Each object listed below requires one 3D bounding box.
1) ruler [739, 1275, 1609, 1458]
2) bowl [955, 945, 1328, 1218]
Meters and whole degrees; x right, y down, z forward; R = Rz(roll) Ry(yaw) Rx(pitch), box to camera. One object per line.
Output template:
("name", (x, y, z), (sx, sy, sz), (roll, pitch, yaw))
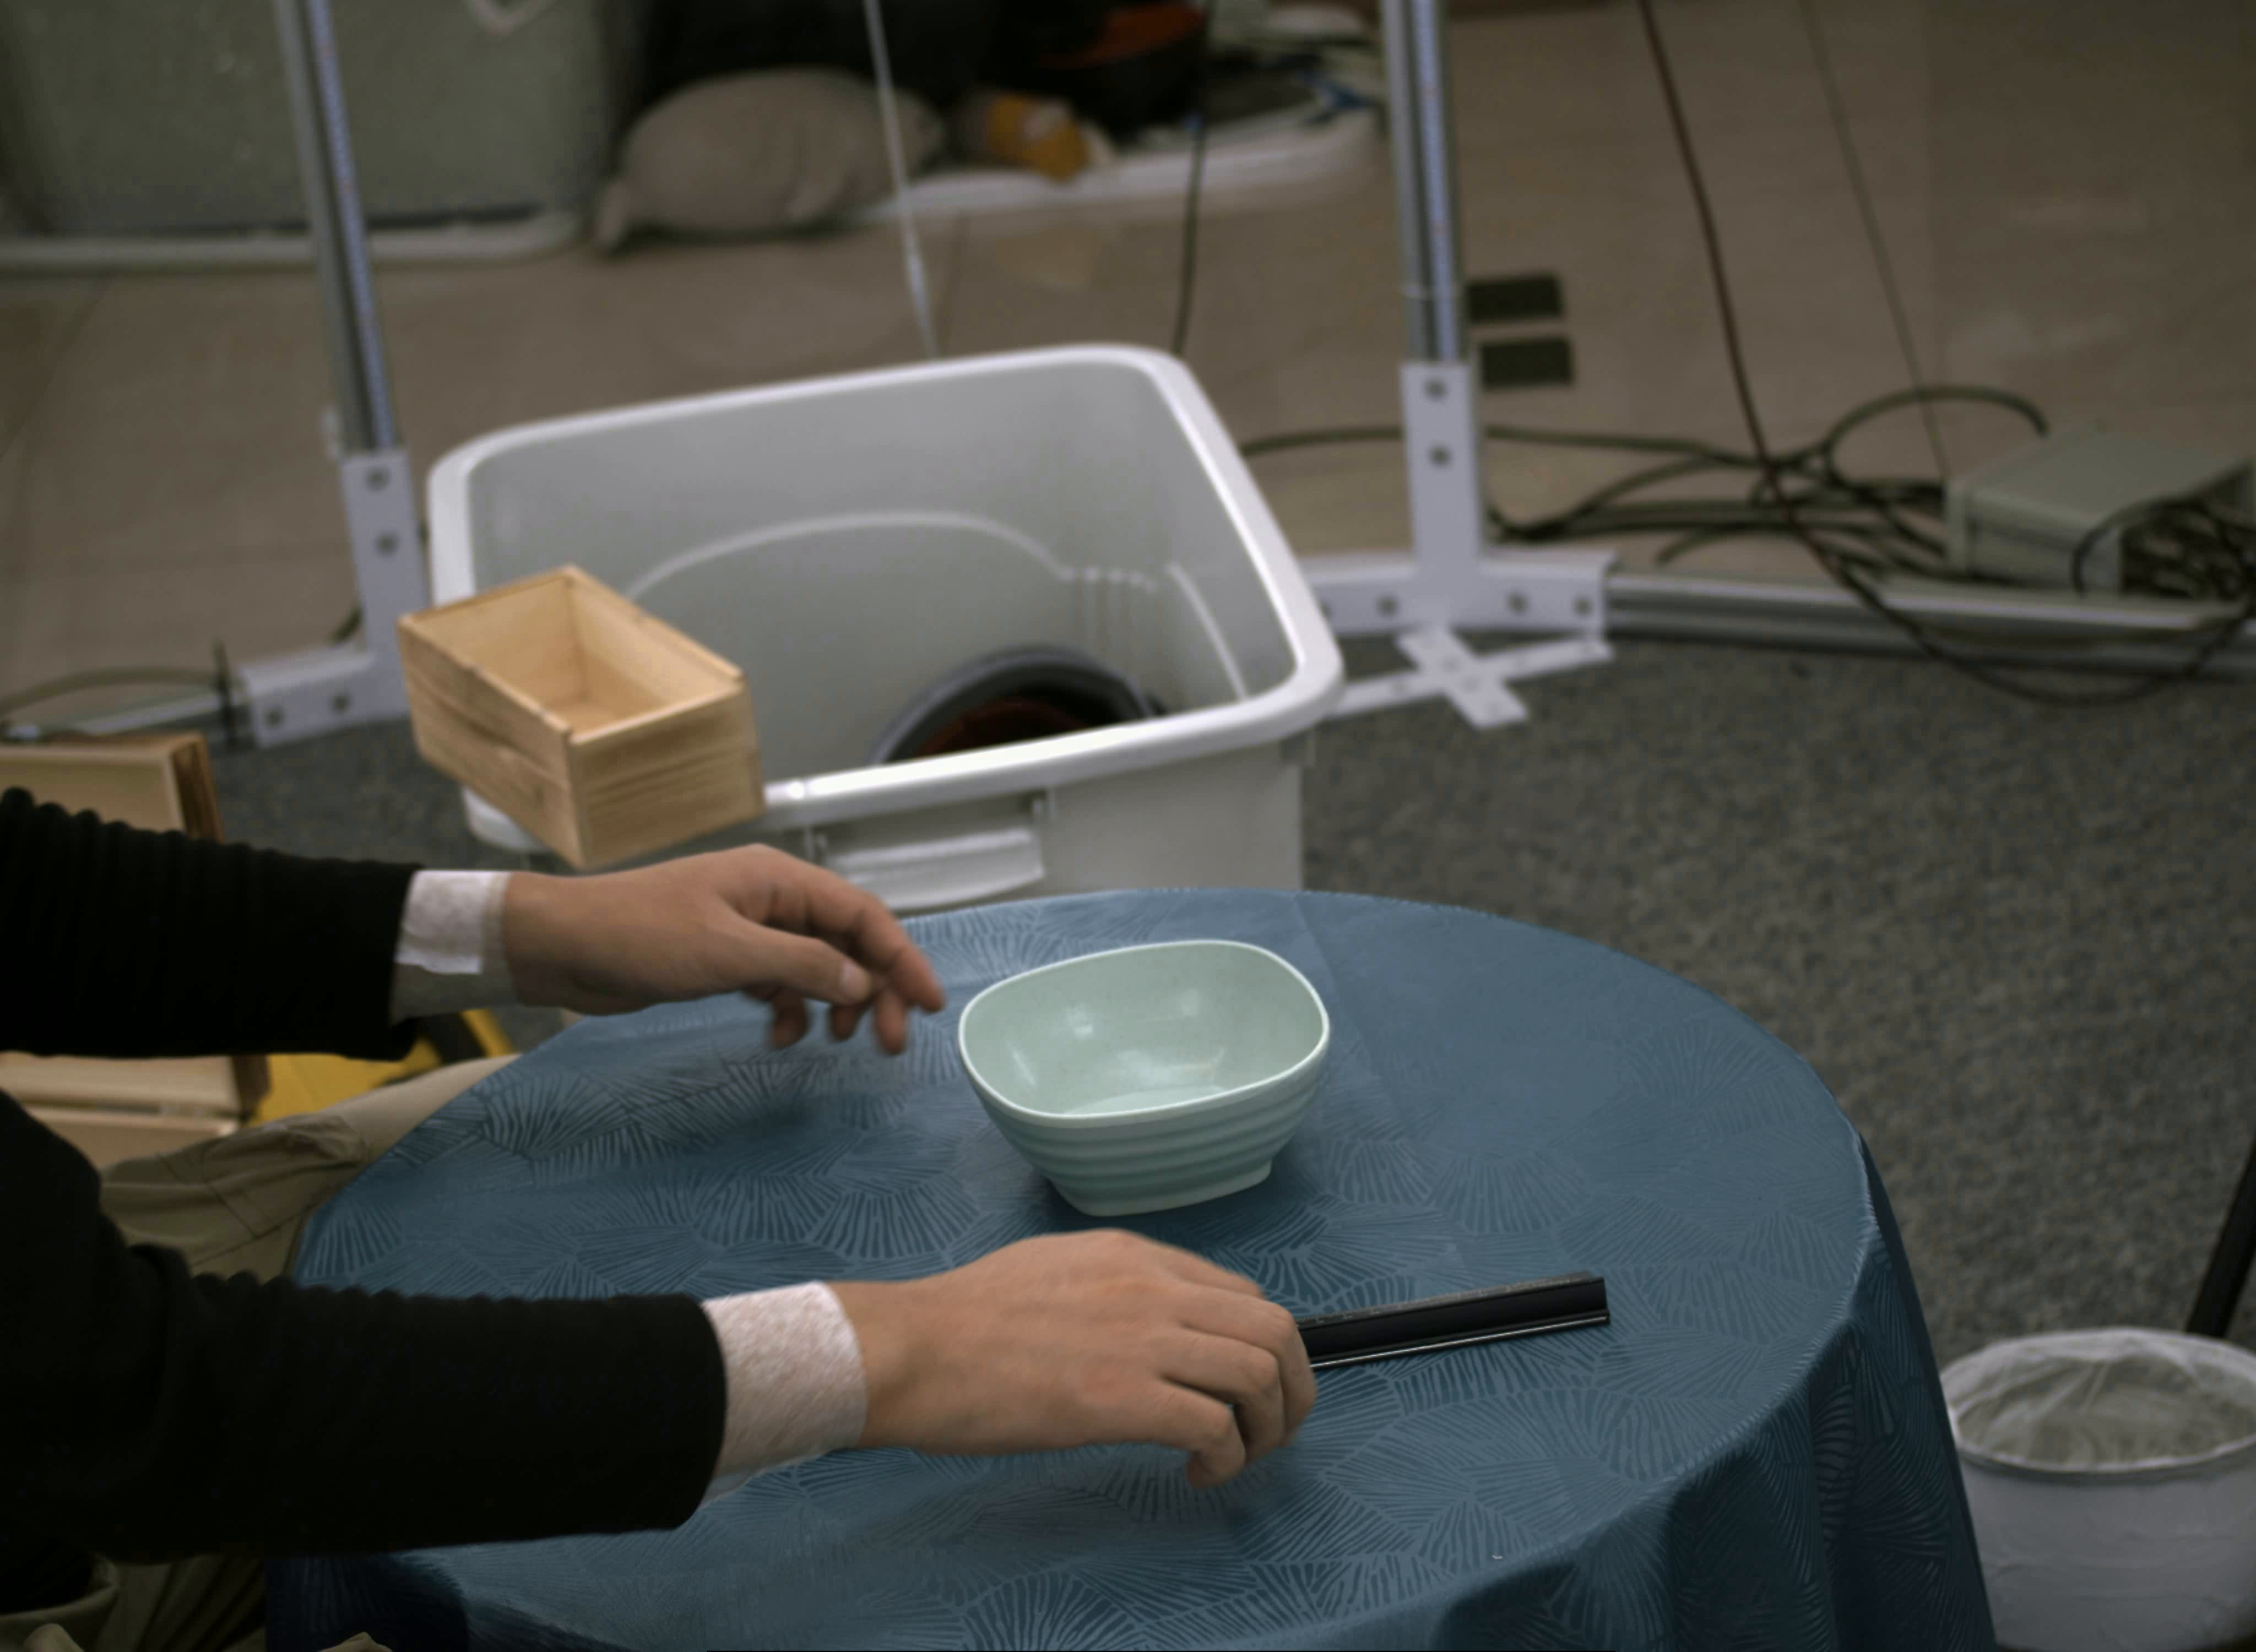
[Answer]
("ruler", (0.016, 0.186, 2.024), (0.312, 0.017, 0.039), (-9, 21, -4))
("bowl", (0.006, 0.103, 2.158), (0.151, 0.059, 0.149), (-4, 25, 2))
